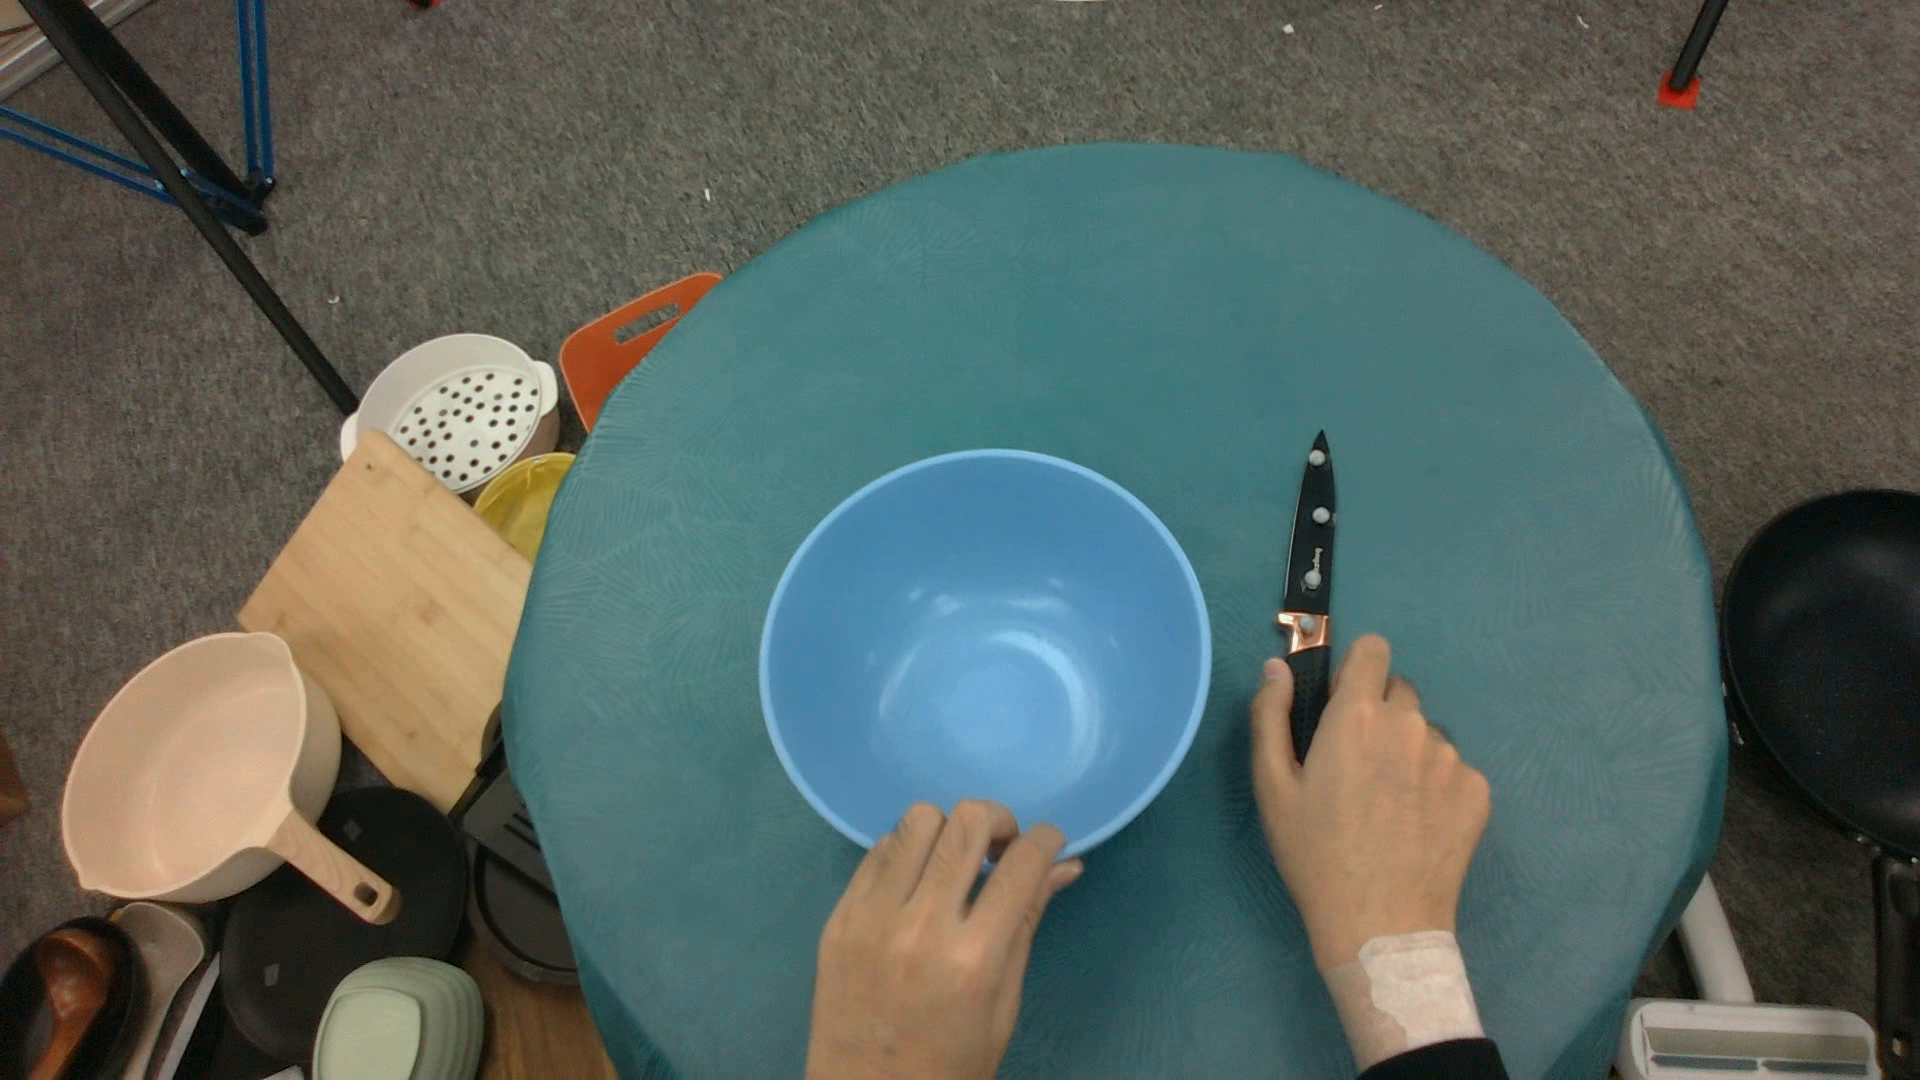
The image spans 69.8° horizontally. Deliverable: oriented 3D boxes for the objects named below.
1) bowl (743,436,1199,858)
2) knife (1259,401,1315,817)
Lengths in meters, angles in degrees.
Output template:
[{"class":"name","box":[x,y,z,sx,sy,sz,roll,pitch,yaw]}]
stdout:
[{"class":"bowl","box":[0.009,0.059,0.628,0.196,0.095,0.197,-3,60,6]},{"class":"knife","box":[0.161,0.026,0.676,0.026,0.017,0.226,1,62,14]}]
